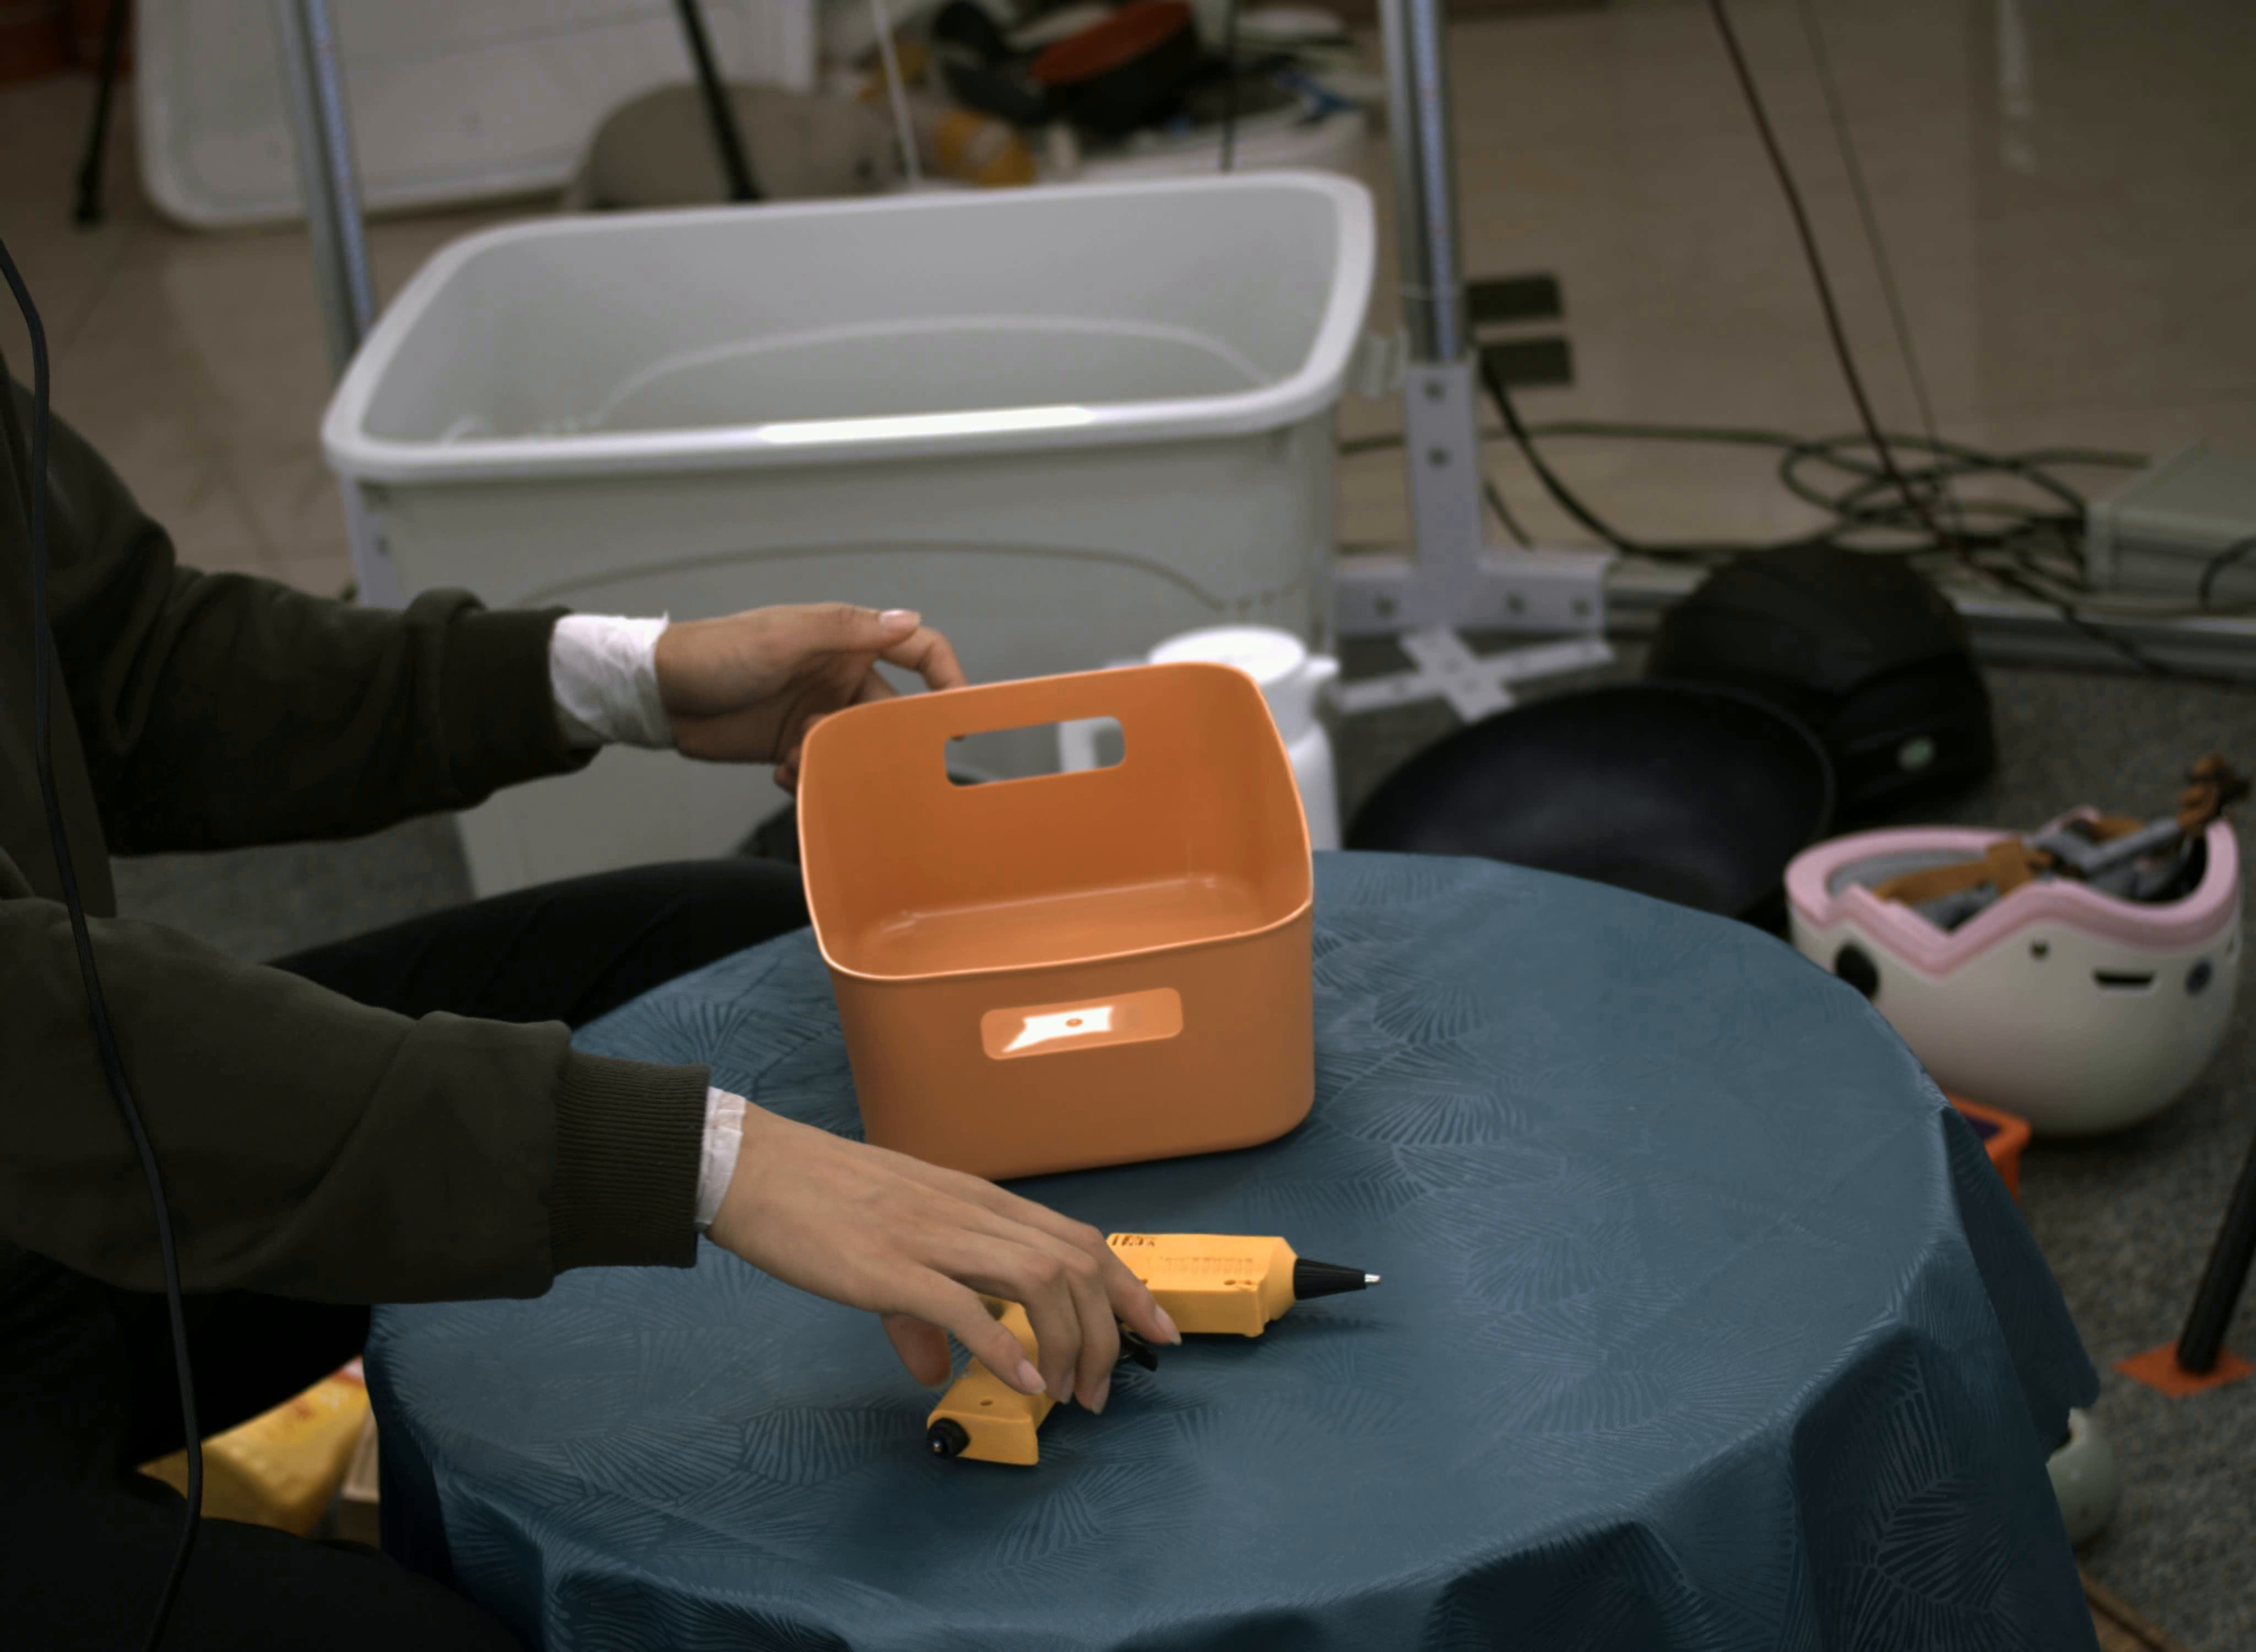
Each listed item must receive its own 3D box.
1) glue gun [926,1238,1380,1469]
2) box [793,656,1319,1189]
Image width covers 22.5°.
[{"bbox_3d":[0.011,0.185,2.018,0.151,0.031,0.131,-4,26,11],"label":"glue gun"},{"bbox_3d":[-0.027,0.039,2.249,0.199,0.104,0.269,-8,26,-3],"label":"box"}]
